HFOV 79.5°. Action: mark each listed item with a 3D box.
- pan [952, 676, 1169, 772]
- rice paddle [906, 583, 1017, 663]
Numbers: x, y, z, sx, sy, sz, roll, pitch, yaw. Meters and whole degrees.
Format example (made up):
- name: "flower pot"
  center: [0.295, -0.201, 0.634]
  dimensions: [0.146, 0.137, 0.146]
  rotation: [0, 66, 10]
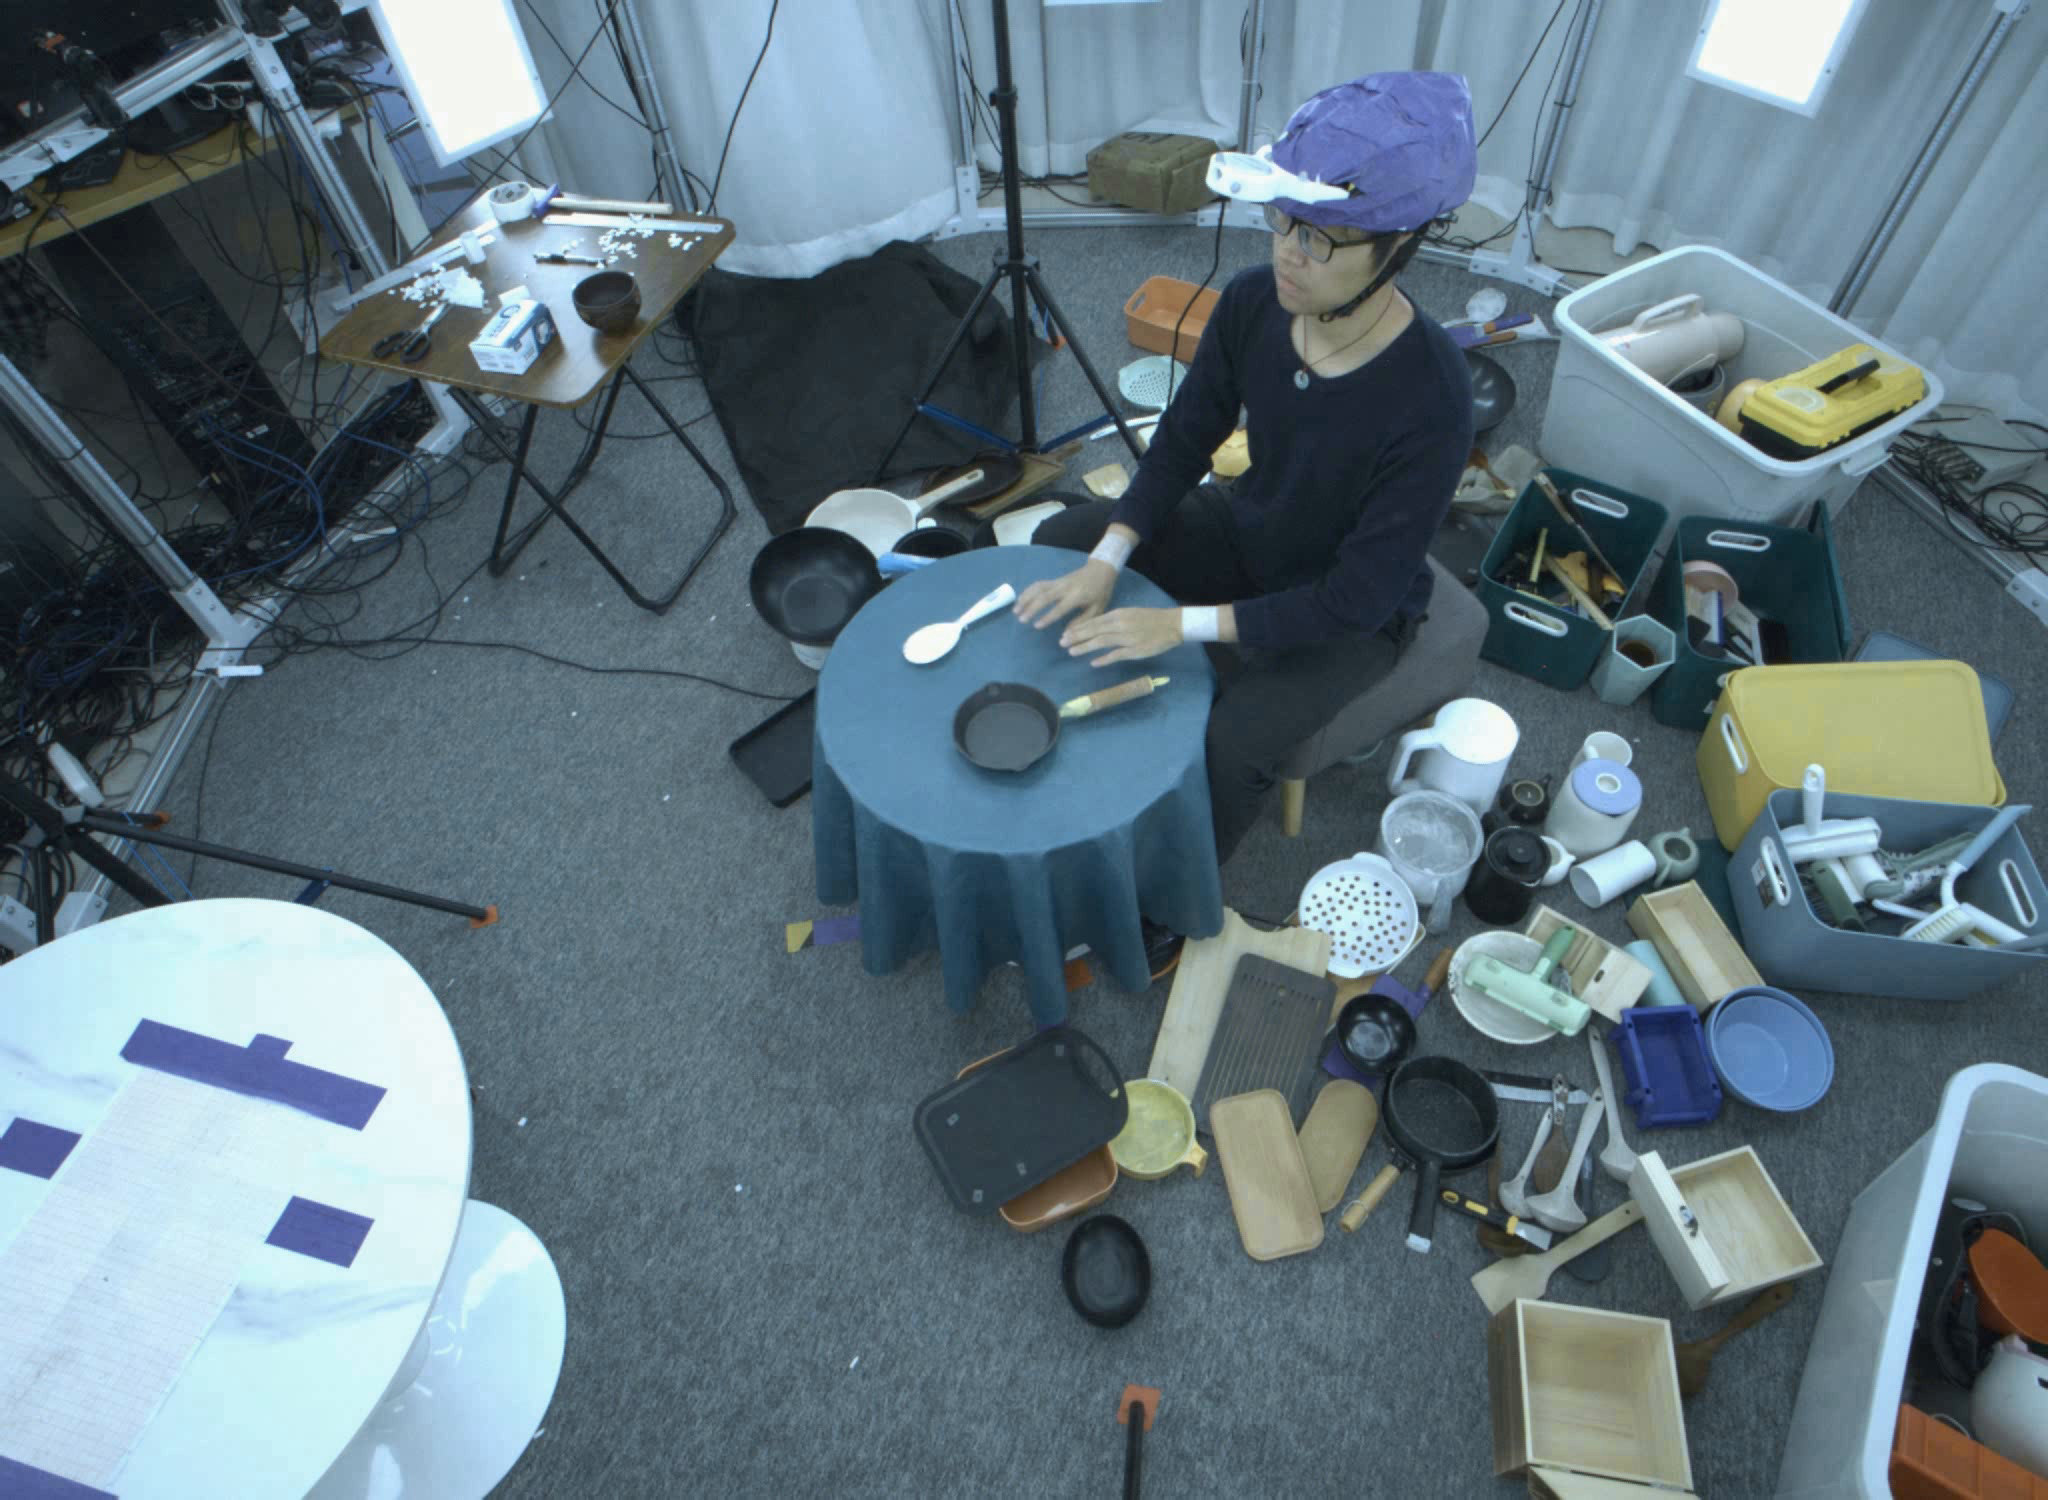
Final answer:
- name: "pan"
  center: [0.056, -0.053, 1.791]
  dimensions: [0.325, 0.050, 0.166]
  rotation: [-14, 55, -6]
- name: "rice paddle"
  center: [-0.098, -0.197, 1.912]
  dimensions: [0.207, 0.030, 0.067]
  rotation: [-36, 57, -21]
